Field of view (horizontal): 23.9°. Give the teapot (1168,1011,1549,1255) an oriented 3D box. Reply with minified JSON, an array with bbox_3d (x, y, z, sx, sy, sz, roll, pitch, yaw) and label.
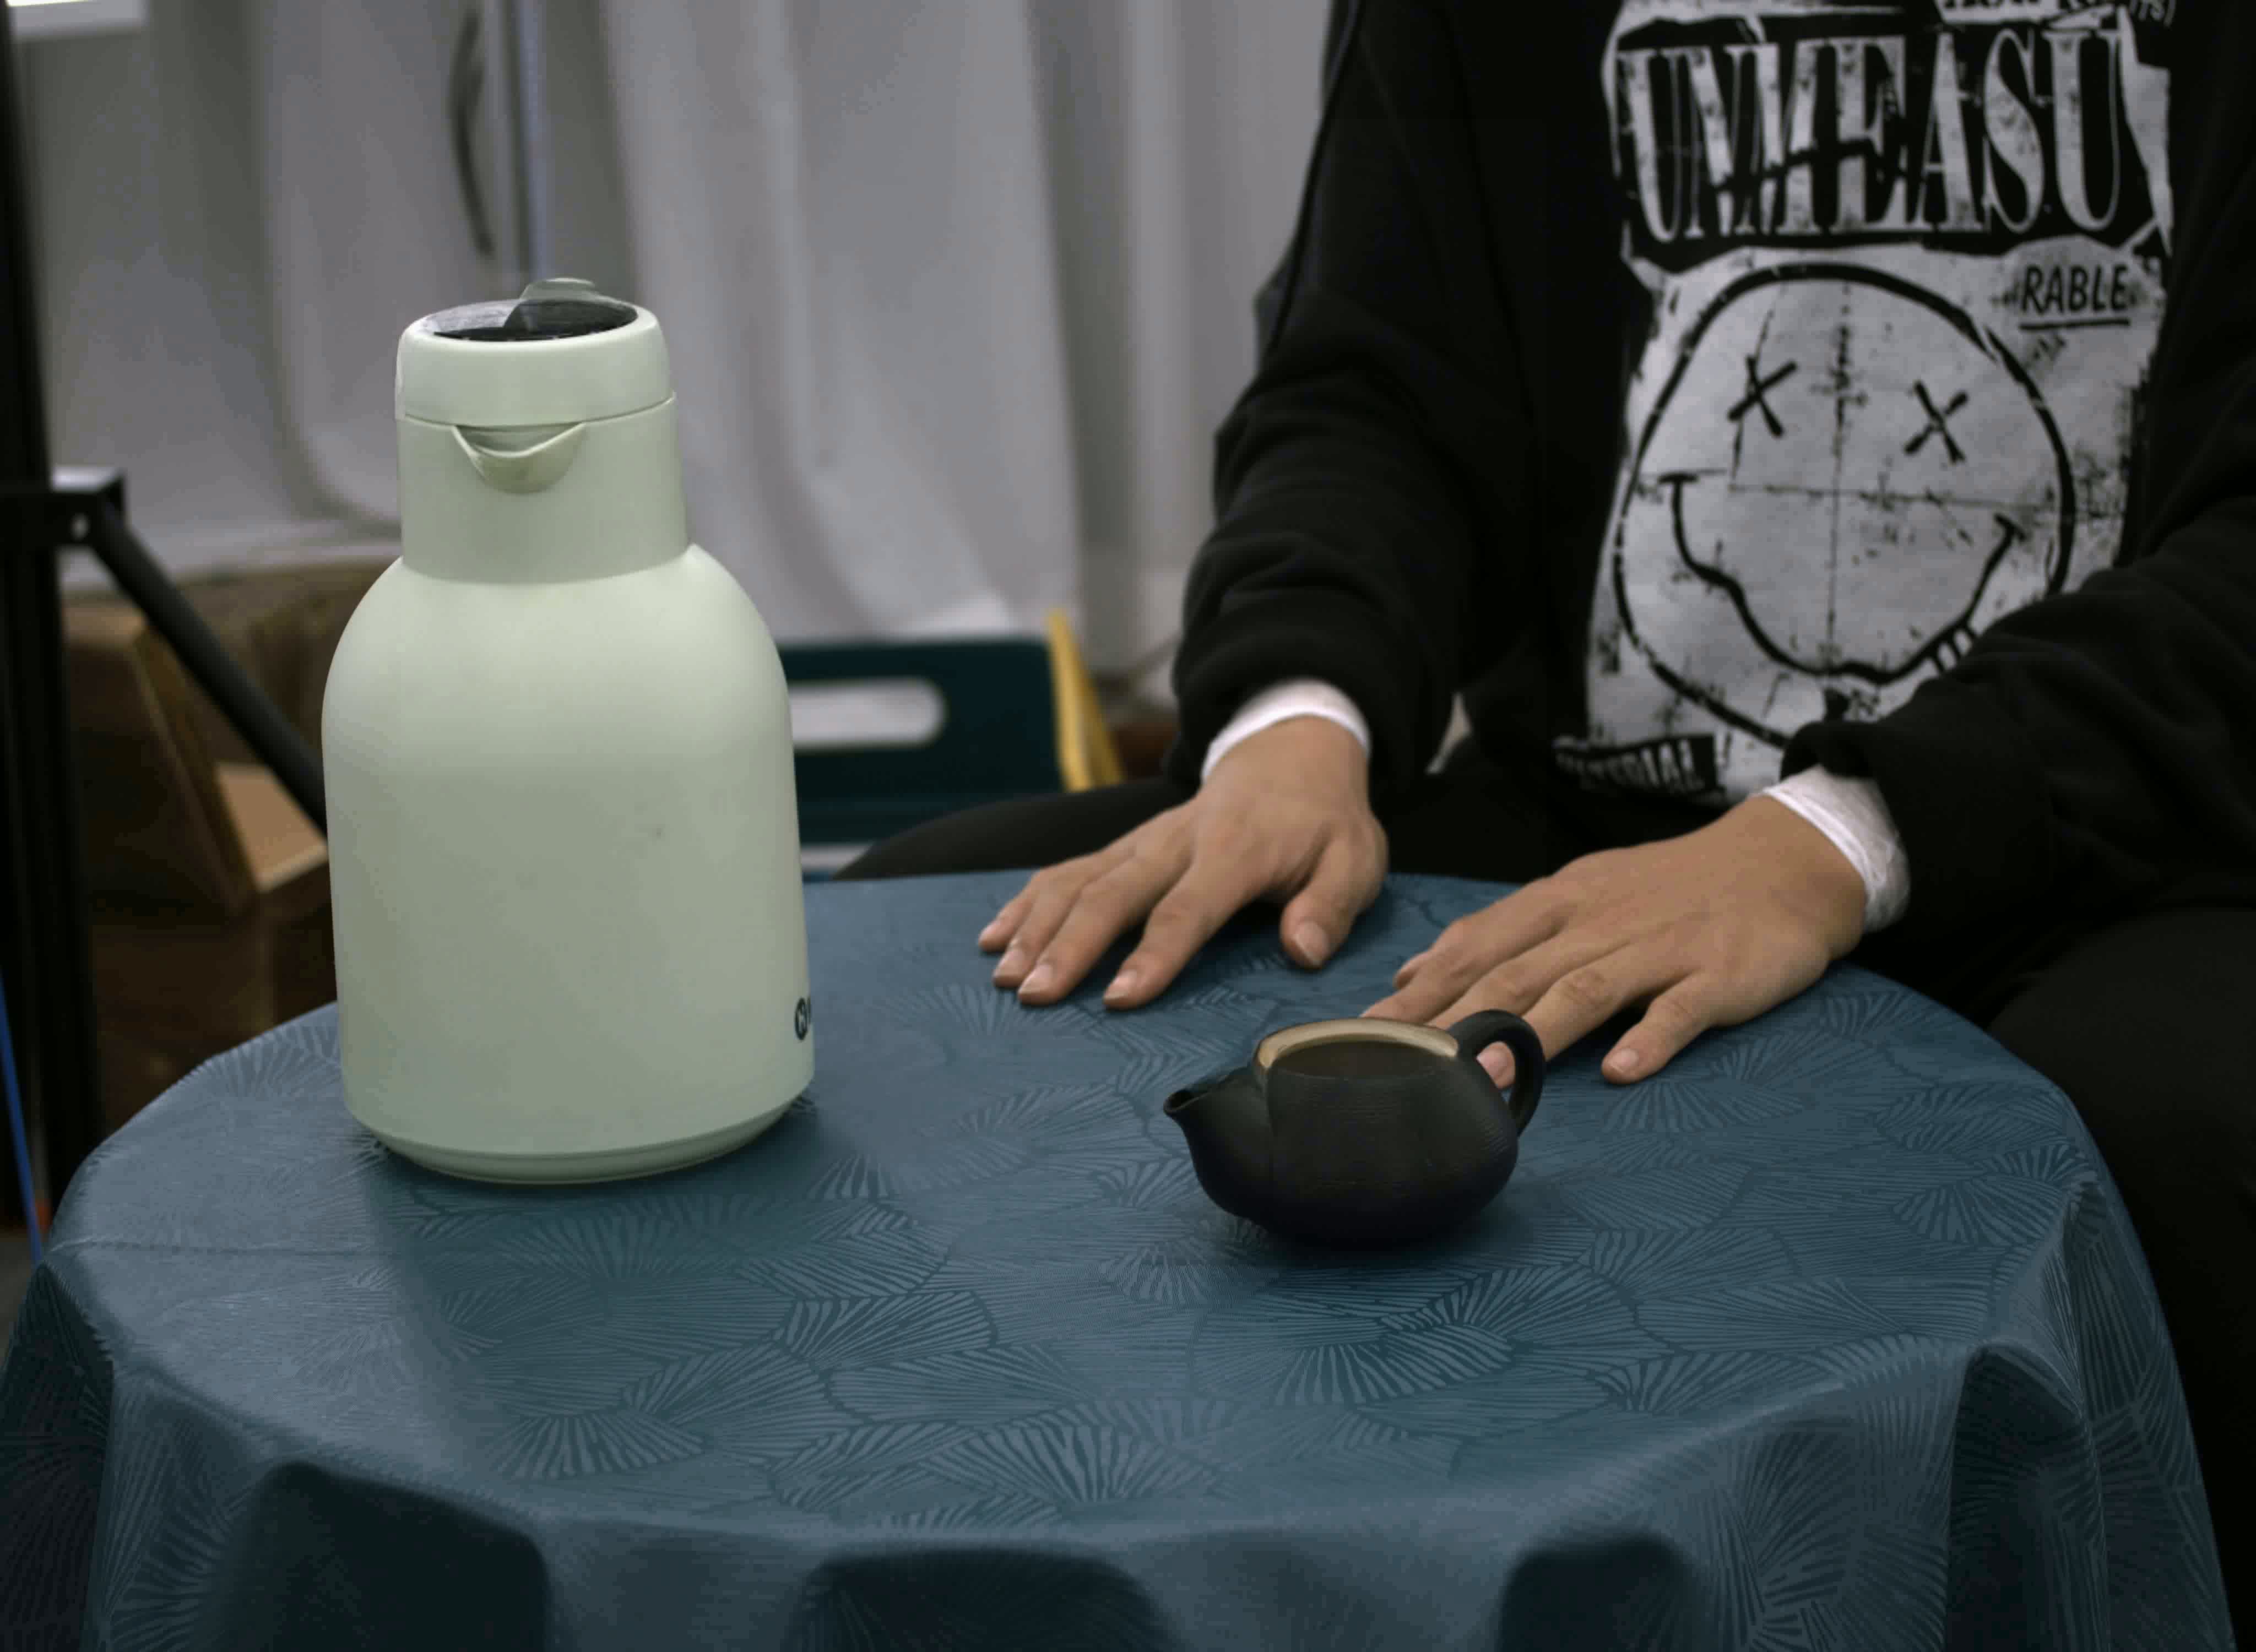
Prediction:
[{"bbox_3d":[0.068,0.089,1.514,0.130,0.053,0.093,-13,20,-31],"label":"teapot"}]

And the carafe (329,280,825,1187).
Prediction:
[{"bbox_3d":[-0.170,-0.033,1.625,0.144,0.257,0.187,-3,12,3],"label":"carafe"}]
